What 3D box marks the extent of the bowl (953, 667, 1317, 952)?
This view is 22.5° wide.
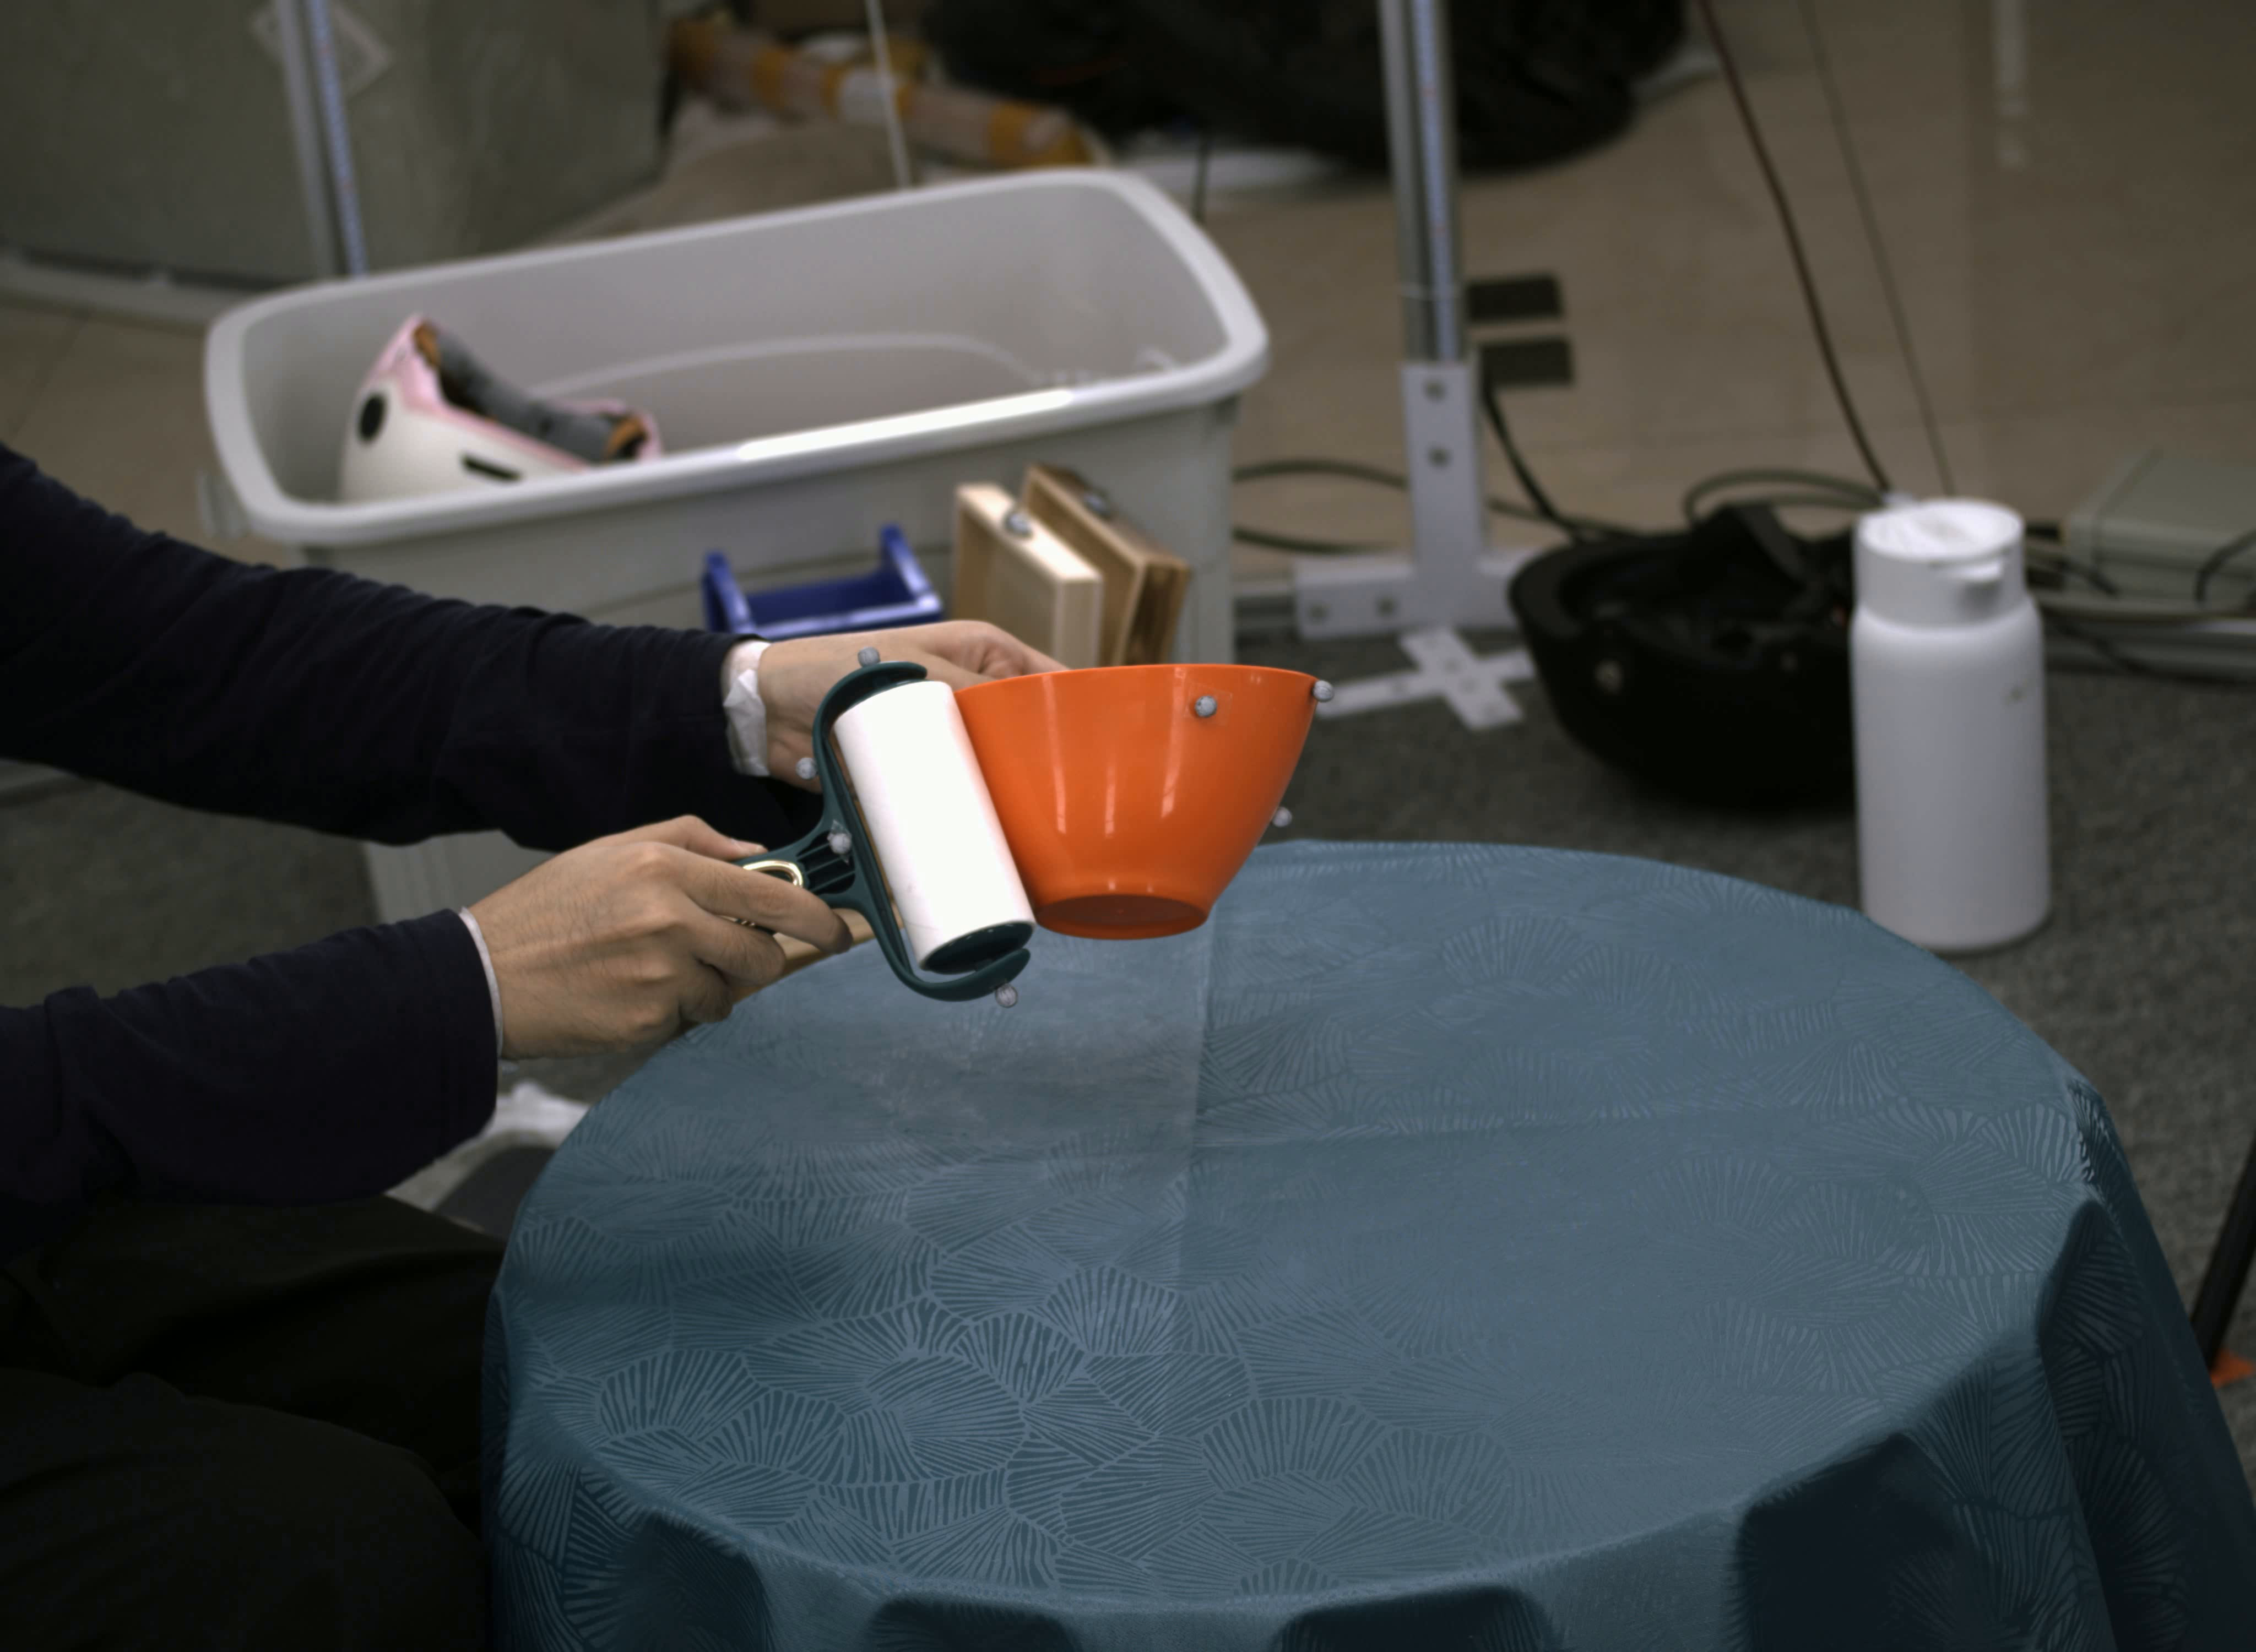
[{"bbox_3d":[0.000,-0.008,2.160,0.148,0.104,0.149,-1,-16,0],"label":"bowl"}]

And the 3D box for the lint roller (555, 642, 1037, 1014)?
[{"bbox_3d":[-0.135,0.024,2.122,0.180,0.133,0.049,-21,-13,1],"label":"lint roller"}]
